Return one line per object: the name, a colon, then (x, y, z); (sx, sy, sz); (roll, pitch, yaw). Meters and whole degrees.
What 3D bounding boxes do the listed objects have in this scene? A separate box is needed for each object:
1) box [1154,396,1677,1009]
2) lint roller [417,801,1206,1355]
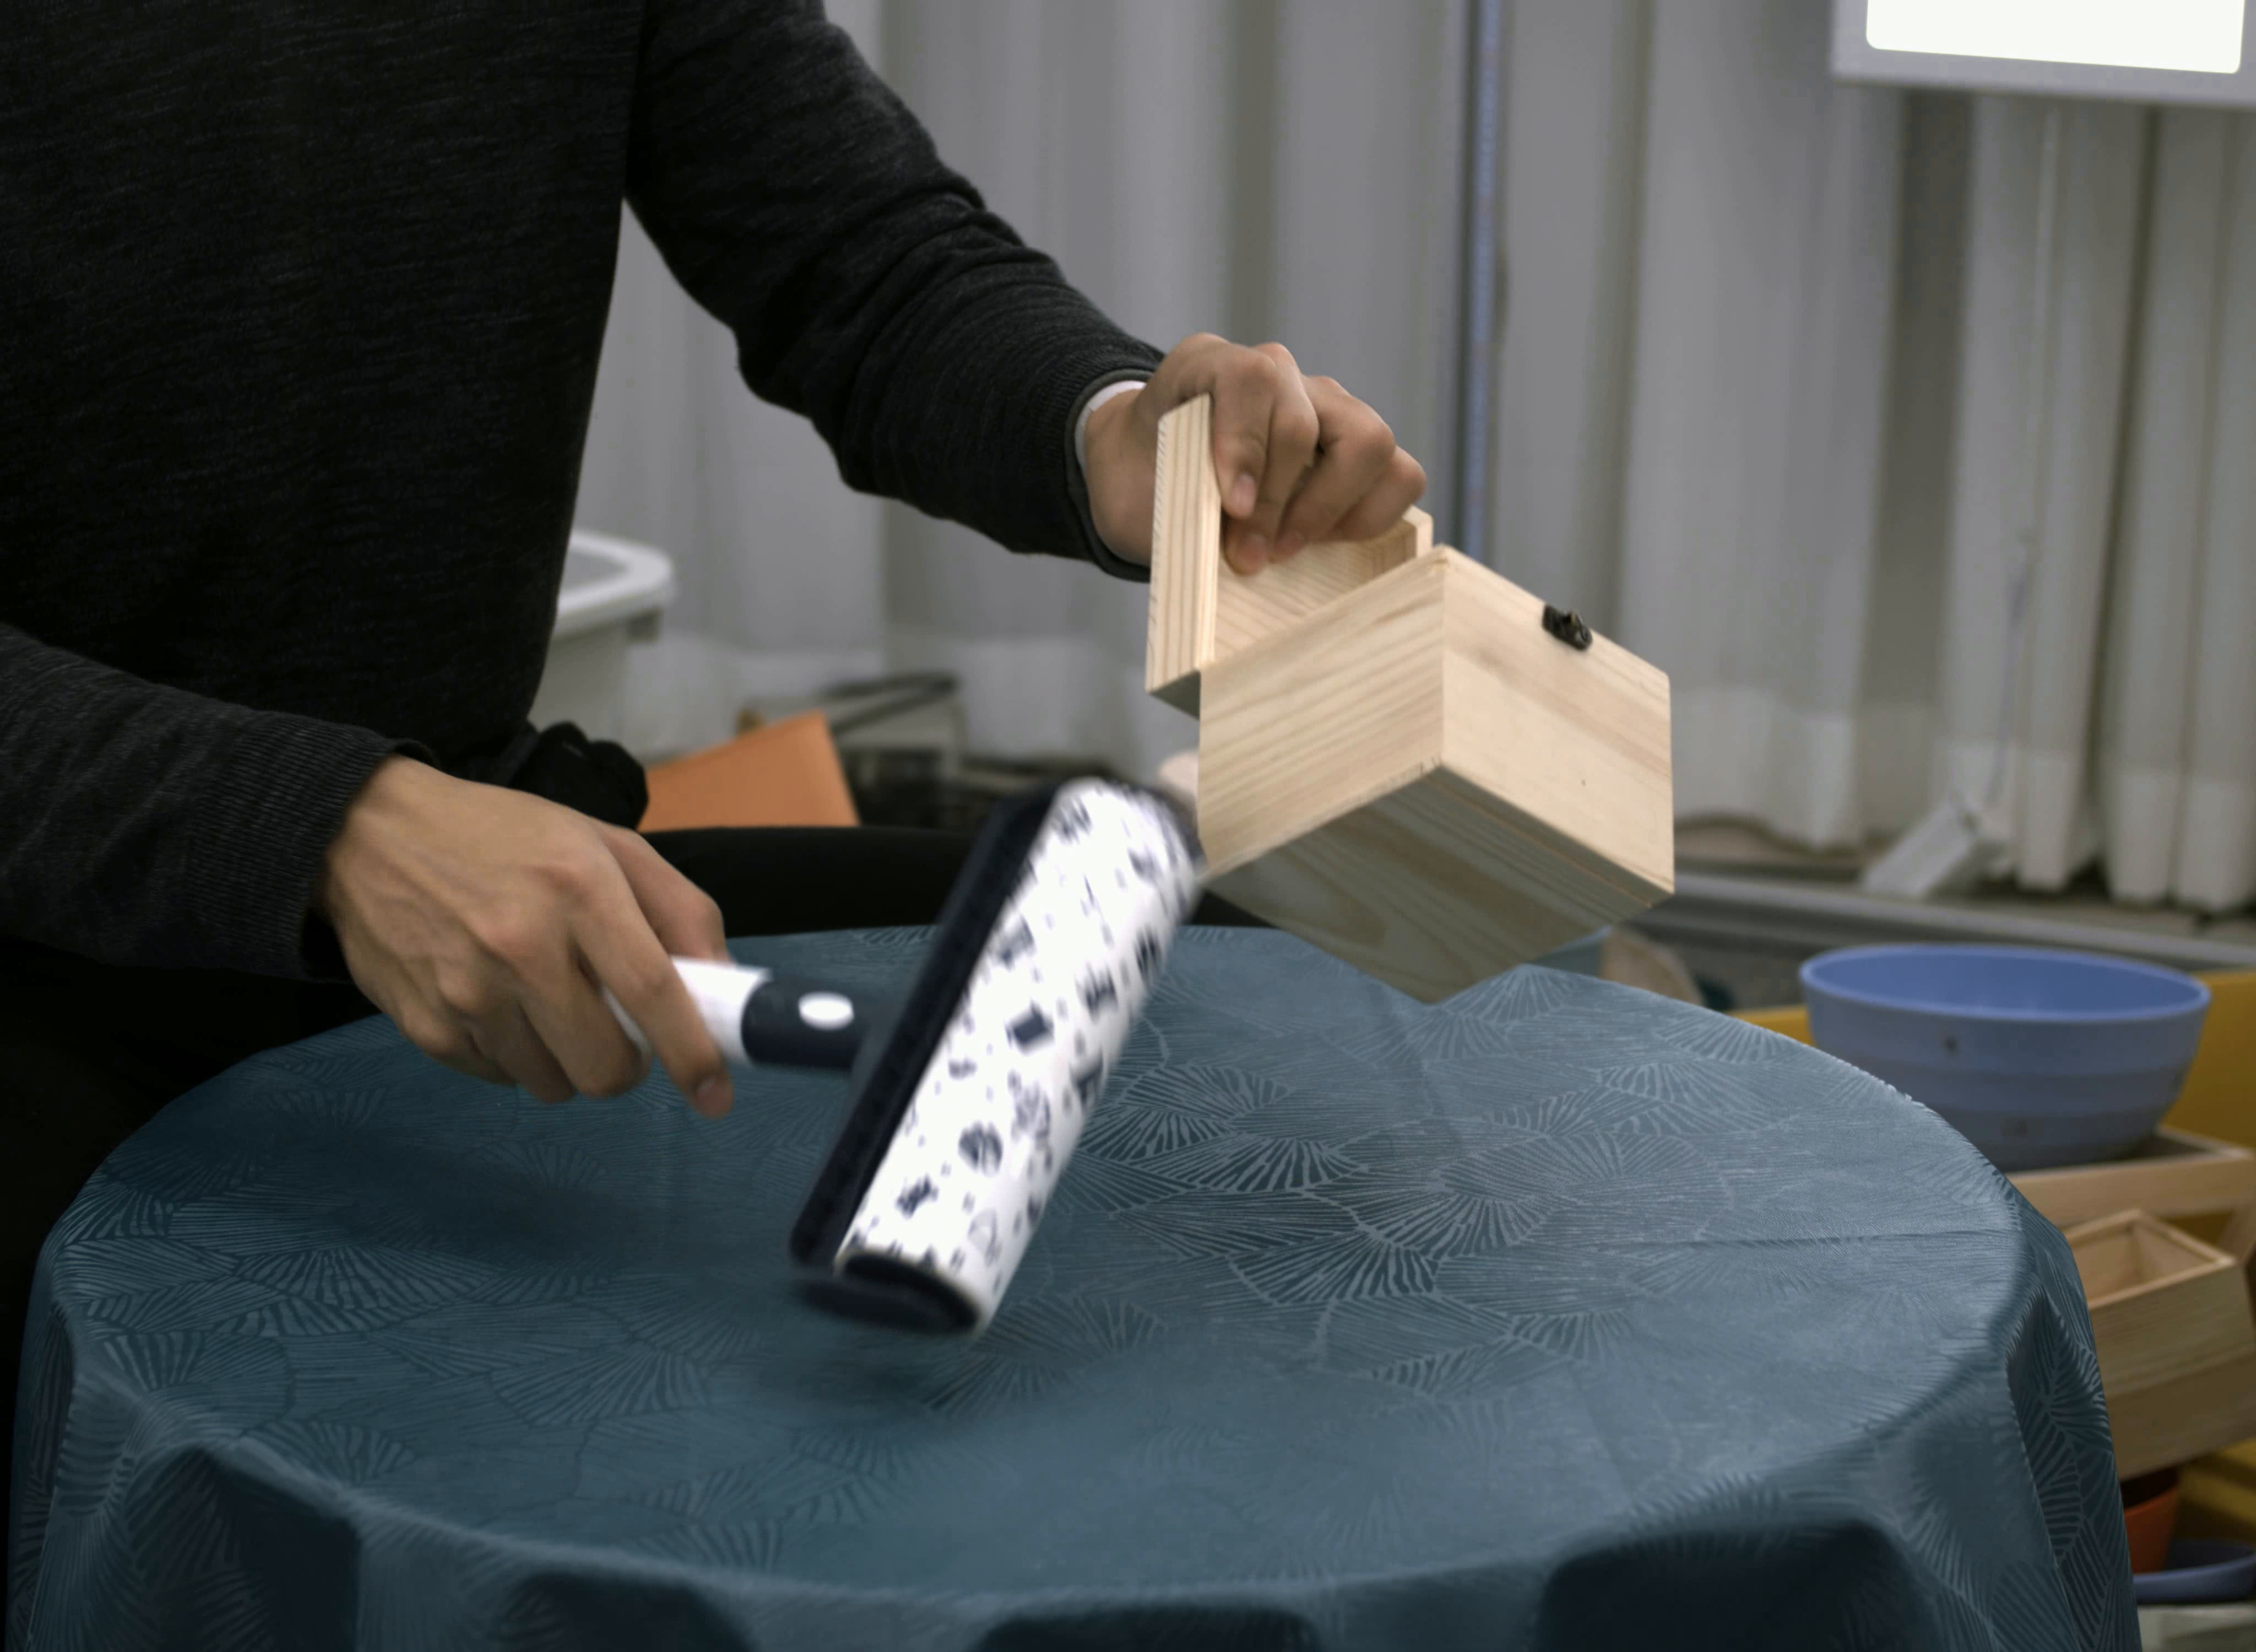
box: (0.088, -0.055, 1.601); (0.104, 0.183, 0.133); (27, -39, -36)
lint roller: (-0.114, 0.058, 1.534); (0.244, 0.051, 0.176); (9, 57, 31)
